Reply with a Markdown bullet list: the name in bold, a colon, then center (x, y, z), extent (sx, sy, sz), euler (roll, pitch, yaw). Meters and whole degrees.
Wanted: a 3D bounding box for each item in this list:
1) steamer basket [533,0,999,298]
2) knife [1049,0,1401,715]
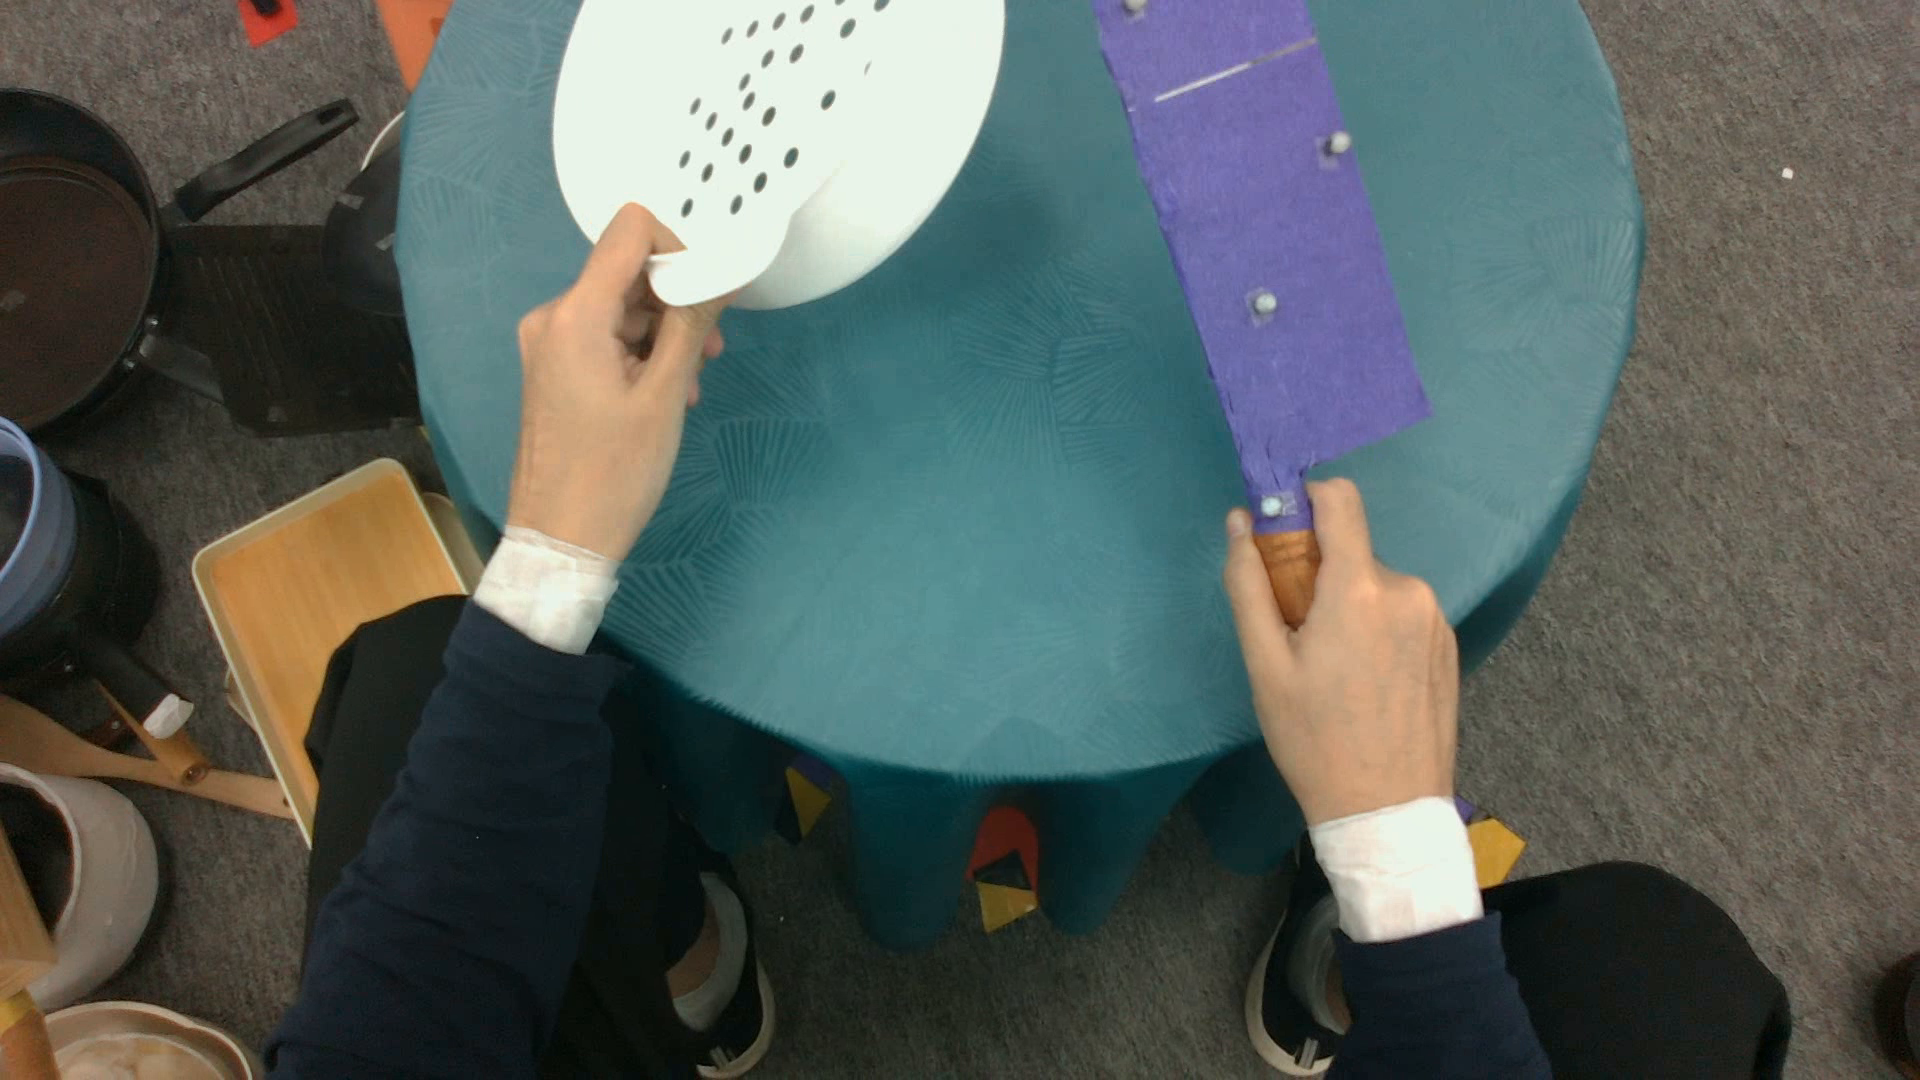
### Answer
- **steamer basket**: center (-0.082, -0.202, 0.571), extent (0.201, 0.069, 0.231), euler (-10, 75, 28)
- **knife**: center (0.127, -0.090, 0.549), extent (0.104, 0.032, 0.315), euler (-23, 97, -17)
